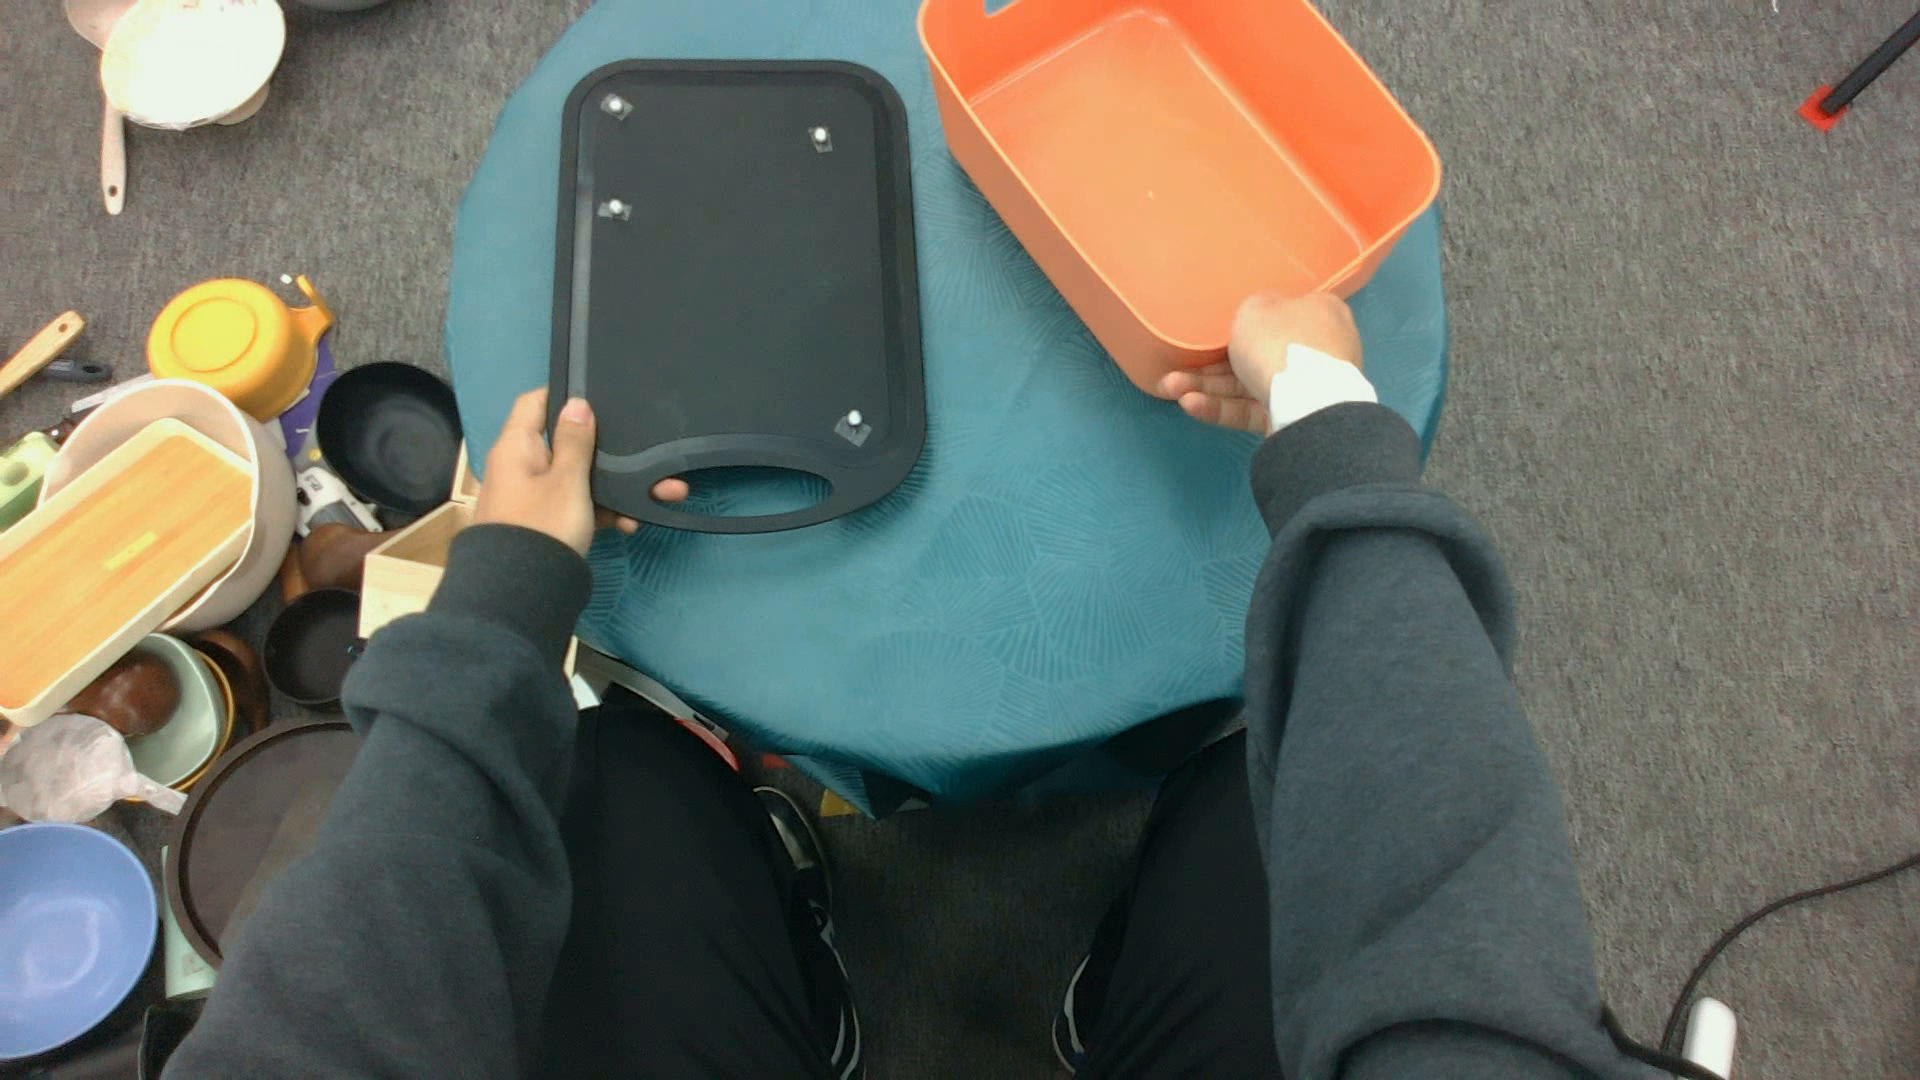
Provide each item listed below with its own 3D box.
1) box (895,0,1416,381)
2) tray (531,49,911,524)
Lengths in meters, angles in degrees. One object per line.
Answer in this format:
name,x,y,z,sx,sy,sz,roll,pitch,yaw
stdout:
box,0.103,-0.234,0.794,0.200,0.102,0.273,-33,73,-11
tray,-0.139,-0.160,0.805,0.211,0.010,0.326,-2,67,-7
